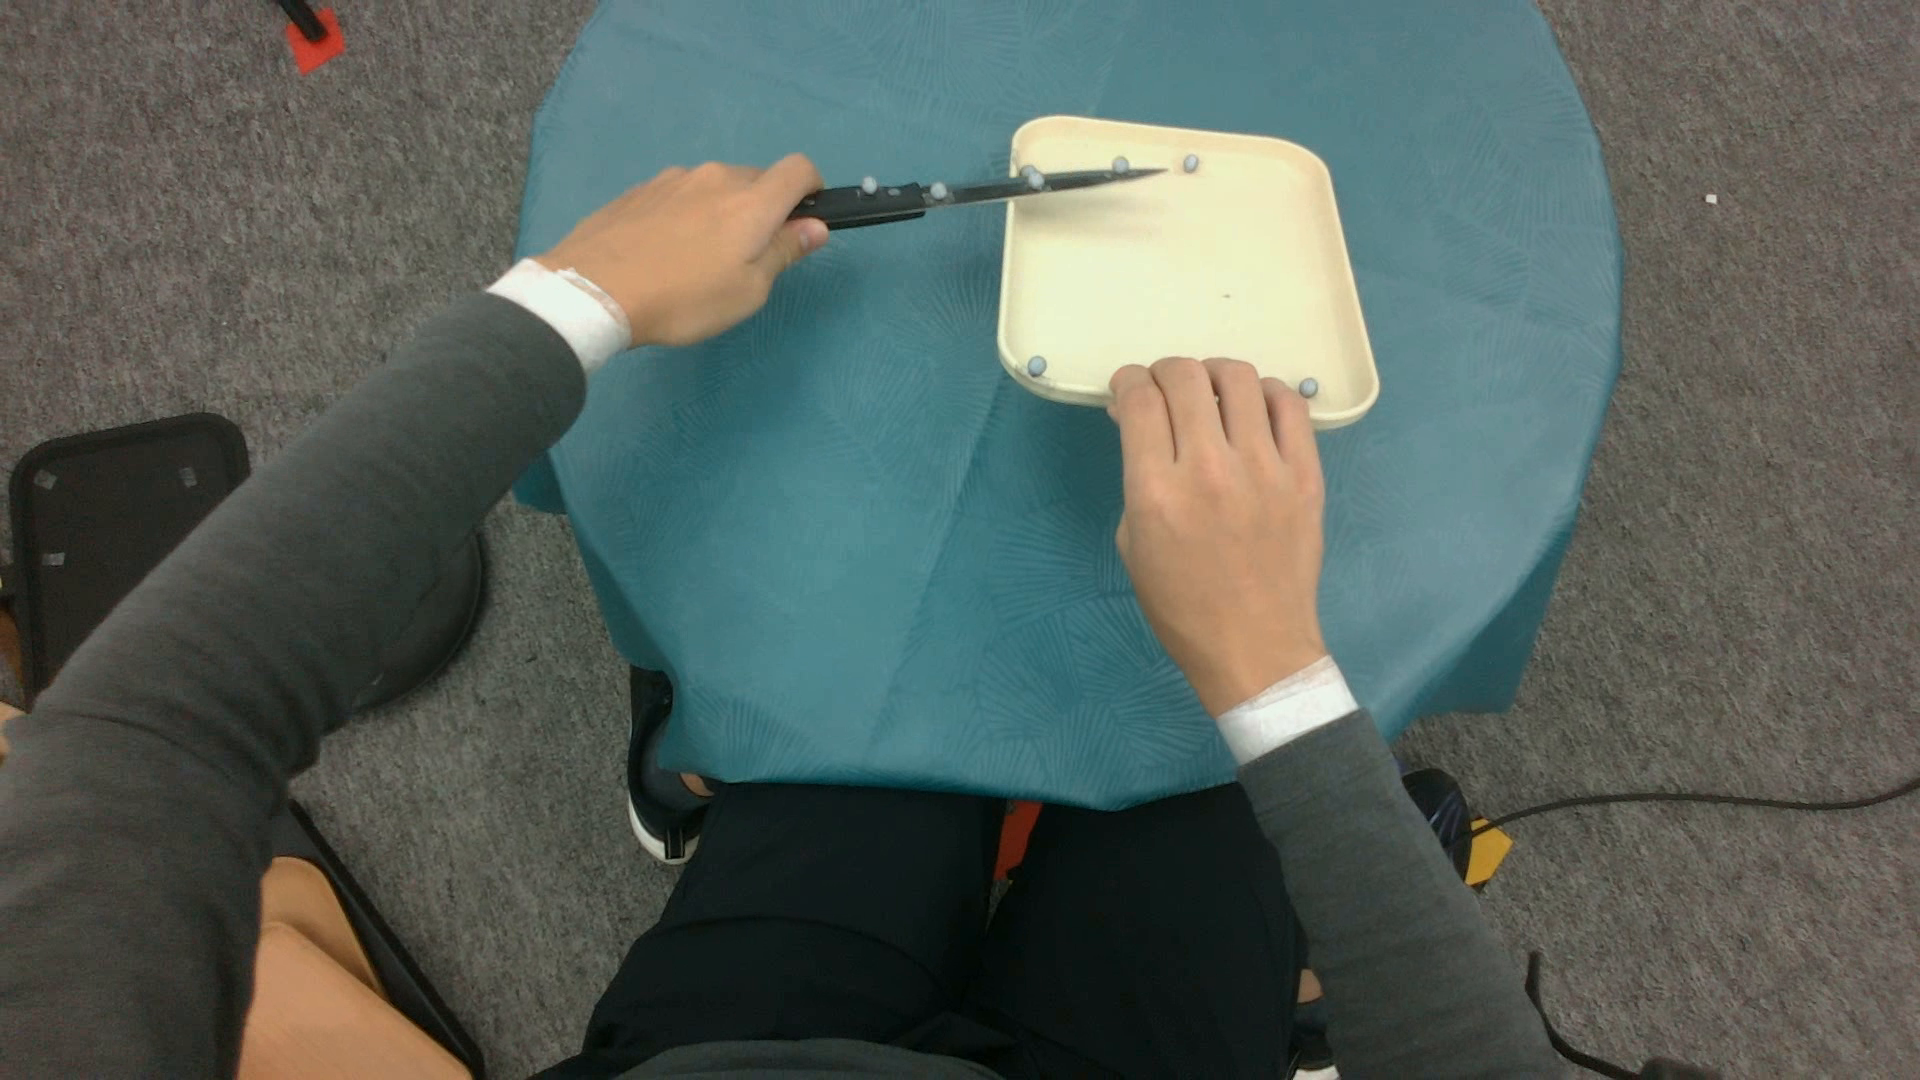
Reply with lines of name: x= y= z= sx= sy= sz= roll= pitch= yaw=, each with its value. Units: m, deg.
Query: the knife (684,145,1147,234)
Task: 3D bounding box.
knife: x=-0.019 y=-0.179 z=0.693 sx=0.238 sy=0.016 sz=0.024 roll=-10 pitch=47 yaw=-7

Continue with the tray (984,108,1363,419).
tray: x=0.097 y=-0.141 z=0.675 sx=0.171 sy=0.017 sz=0.241 roll=7 pitch=44 yaw=-3
